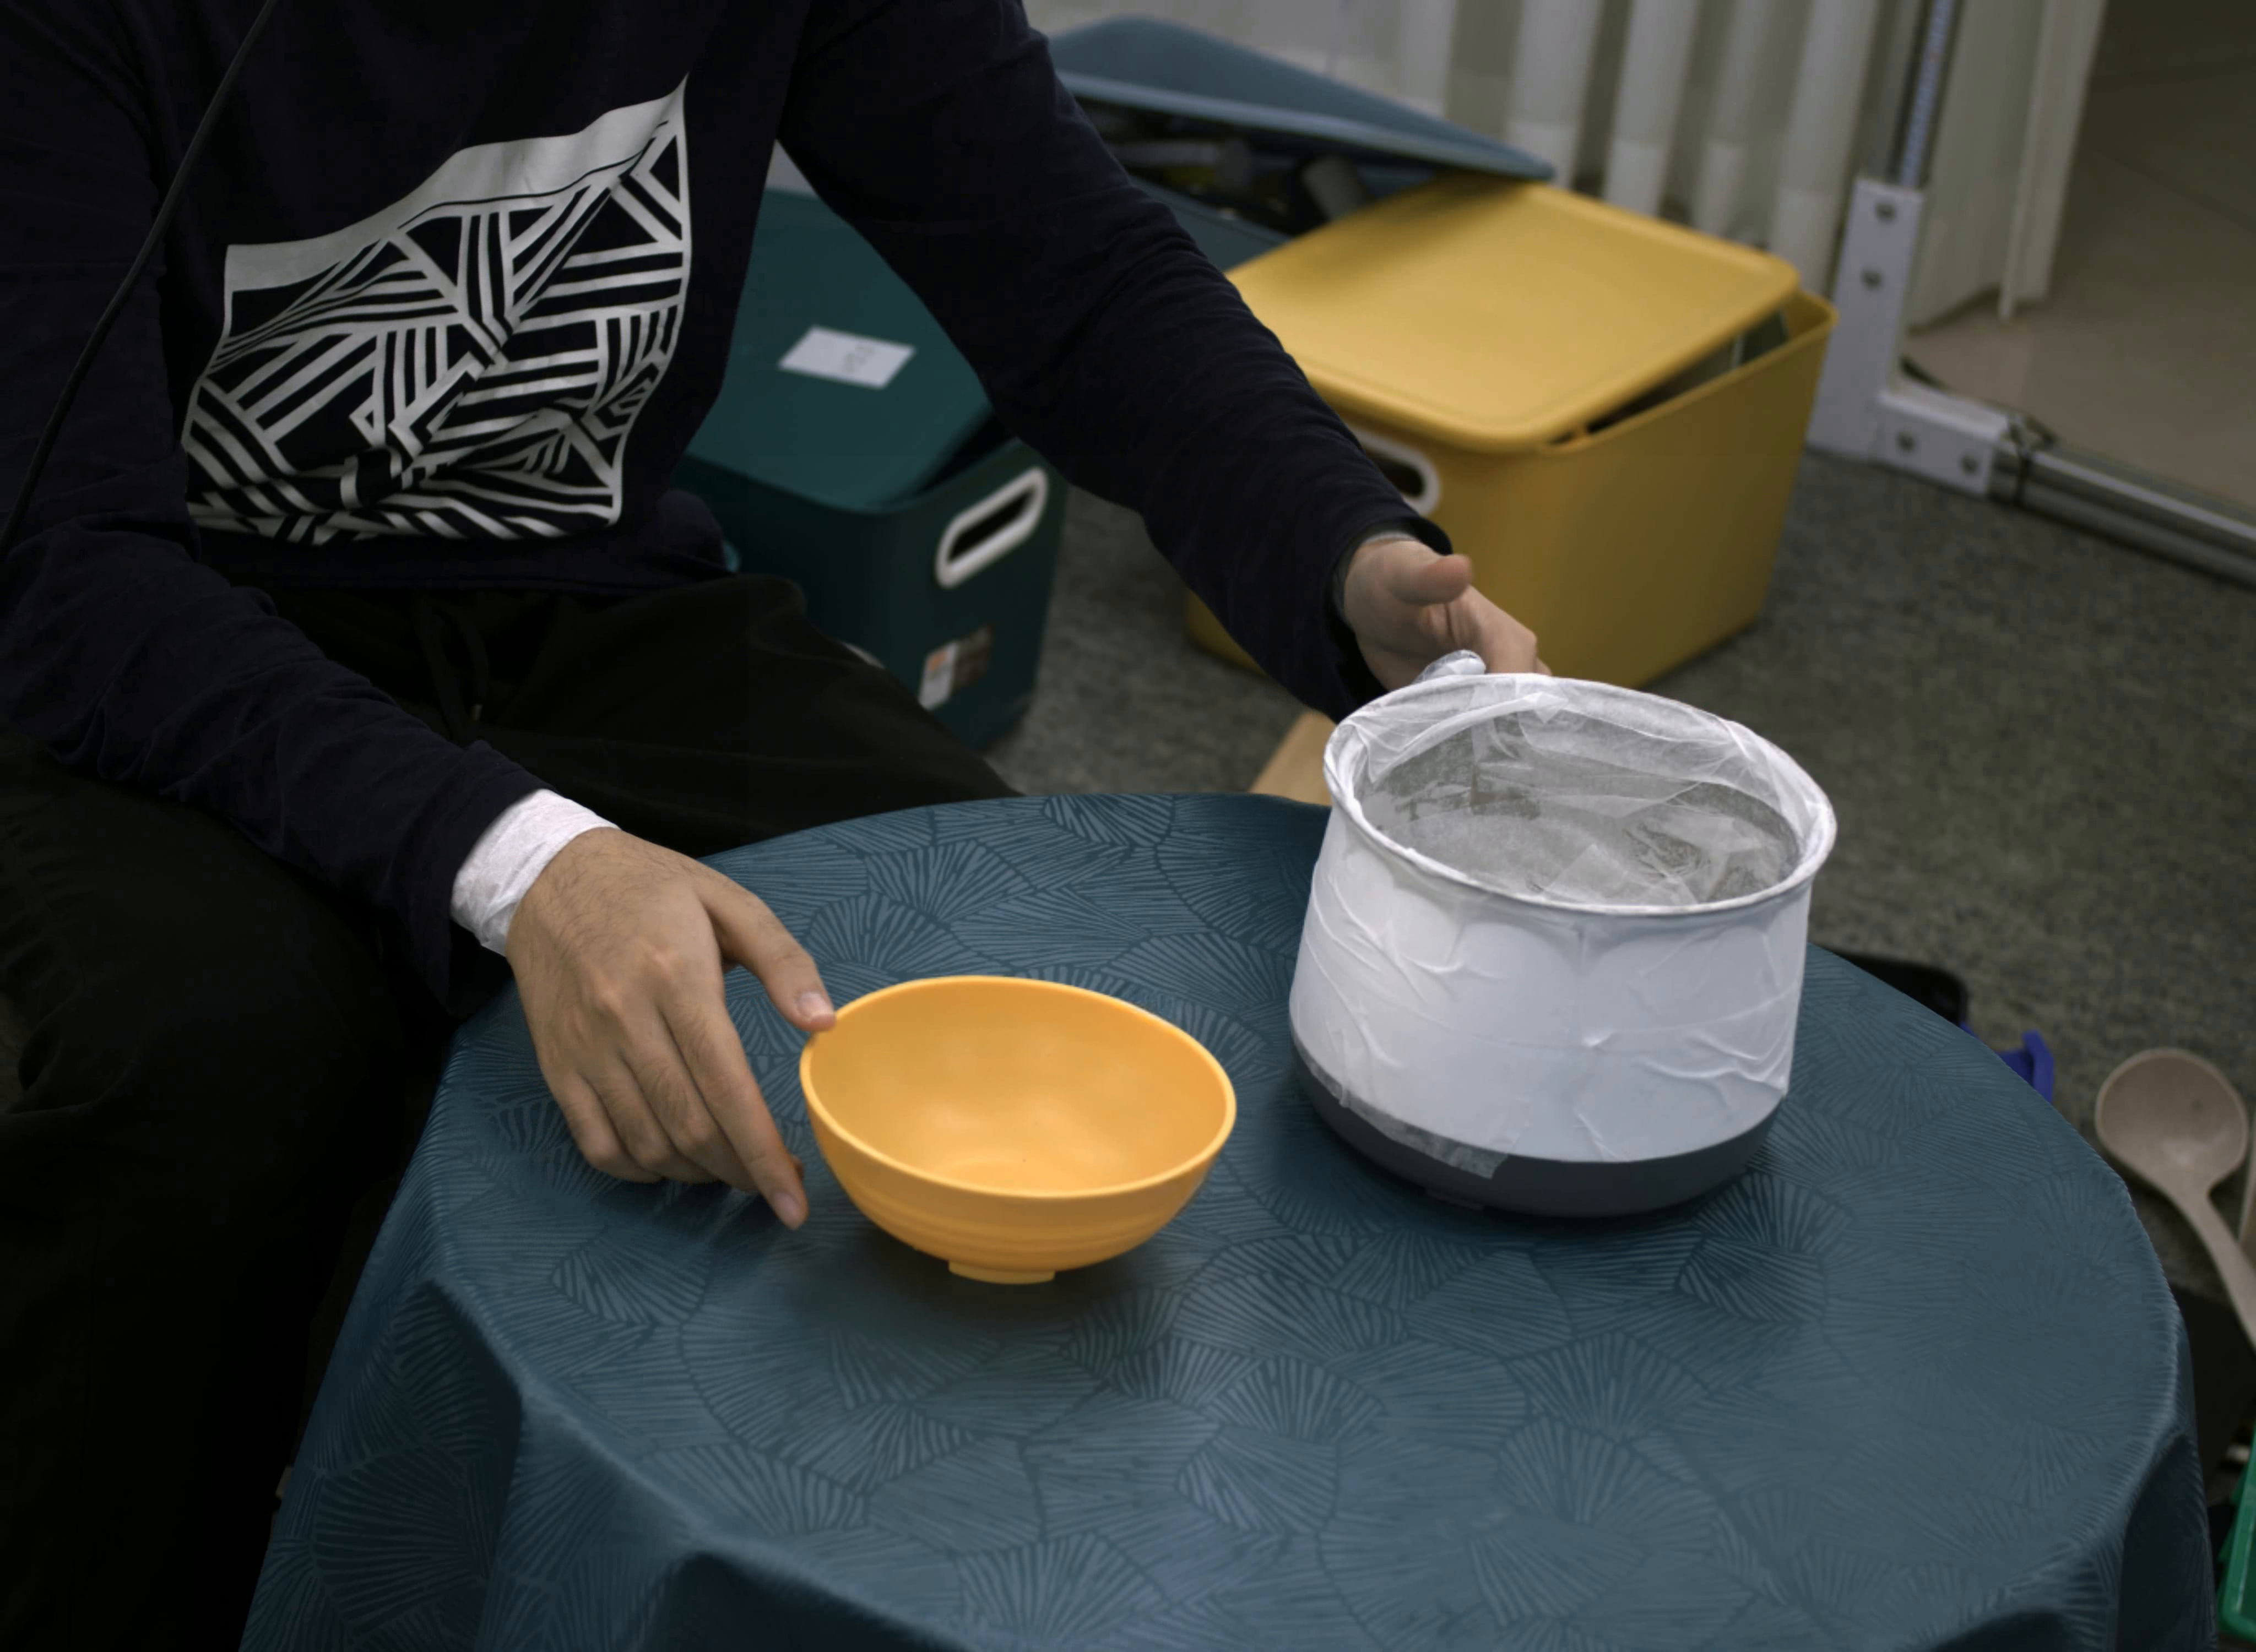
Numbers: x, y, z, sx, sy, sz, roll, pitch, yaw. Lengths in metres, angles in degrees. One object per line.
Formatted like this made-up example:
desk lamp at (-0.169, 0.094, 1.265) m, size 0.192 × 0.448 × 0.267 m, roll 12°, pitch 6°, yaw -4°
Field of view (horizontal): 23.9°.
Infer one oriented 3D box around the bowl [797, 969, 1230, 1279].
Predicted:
bowl at (-0.041, 0.107, 1.759) m, size 0.145 × 0.060 × 0.146 m, roll 6°, pitch 27°, yaw -4°

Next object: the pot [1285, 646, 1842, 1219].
pot at (0.137, 0.030, 1.869) m, size 0.177 × 0.136 × 0.236 m, roll -3°, pitch 29°, yaw -23°
